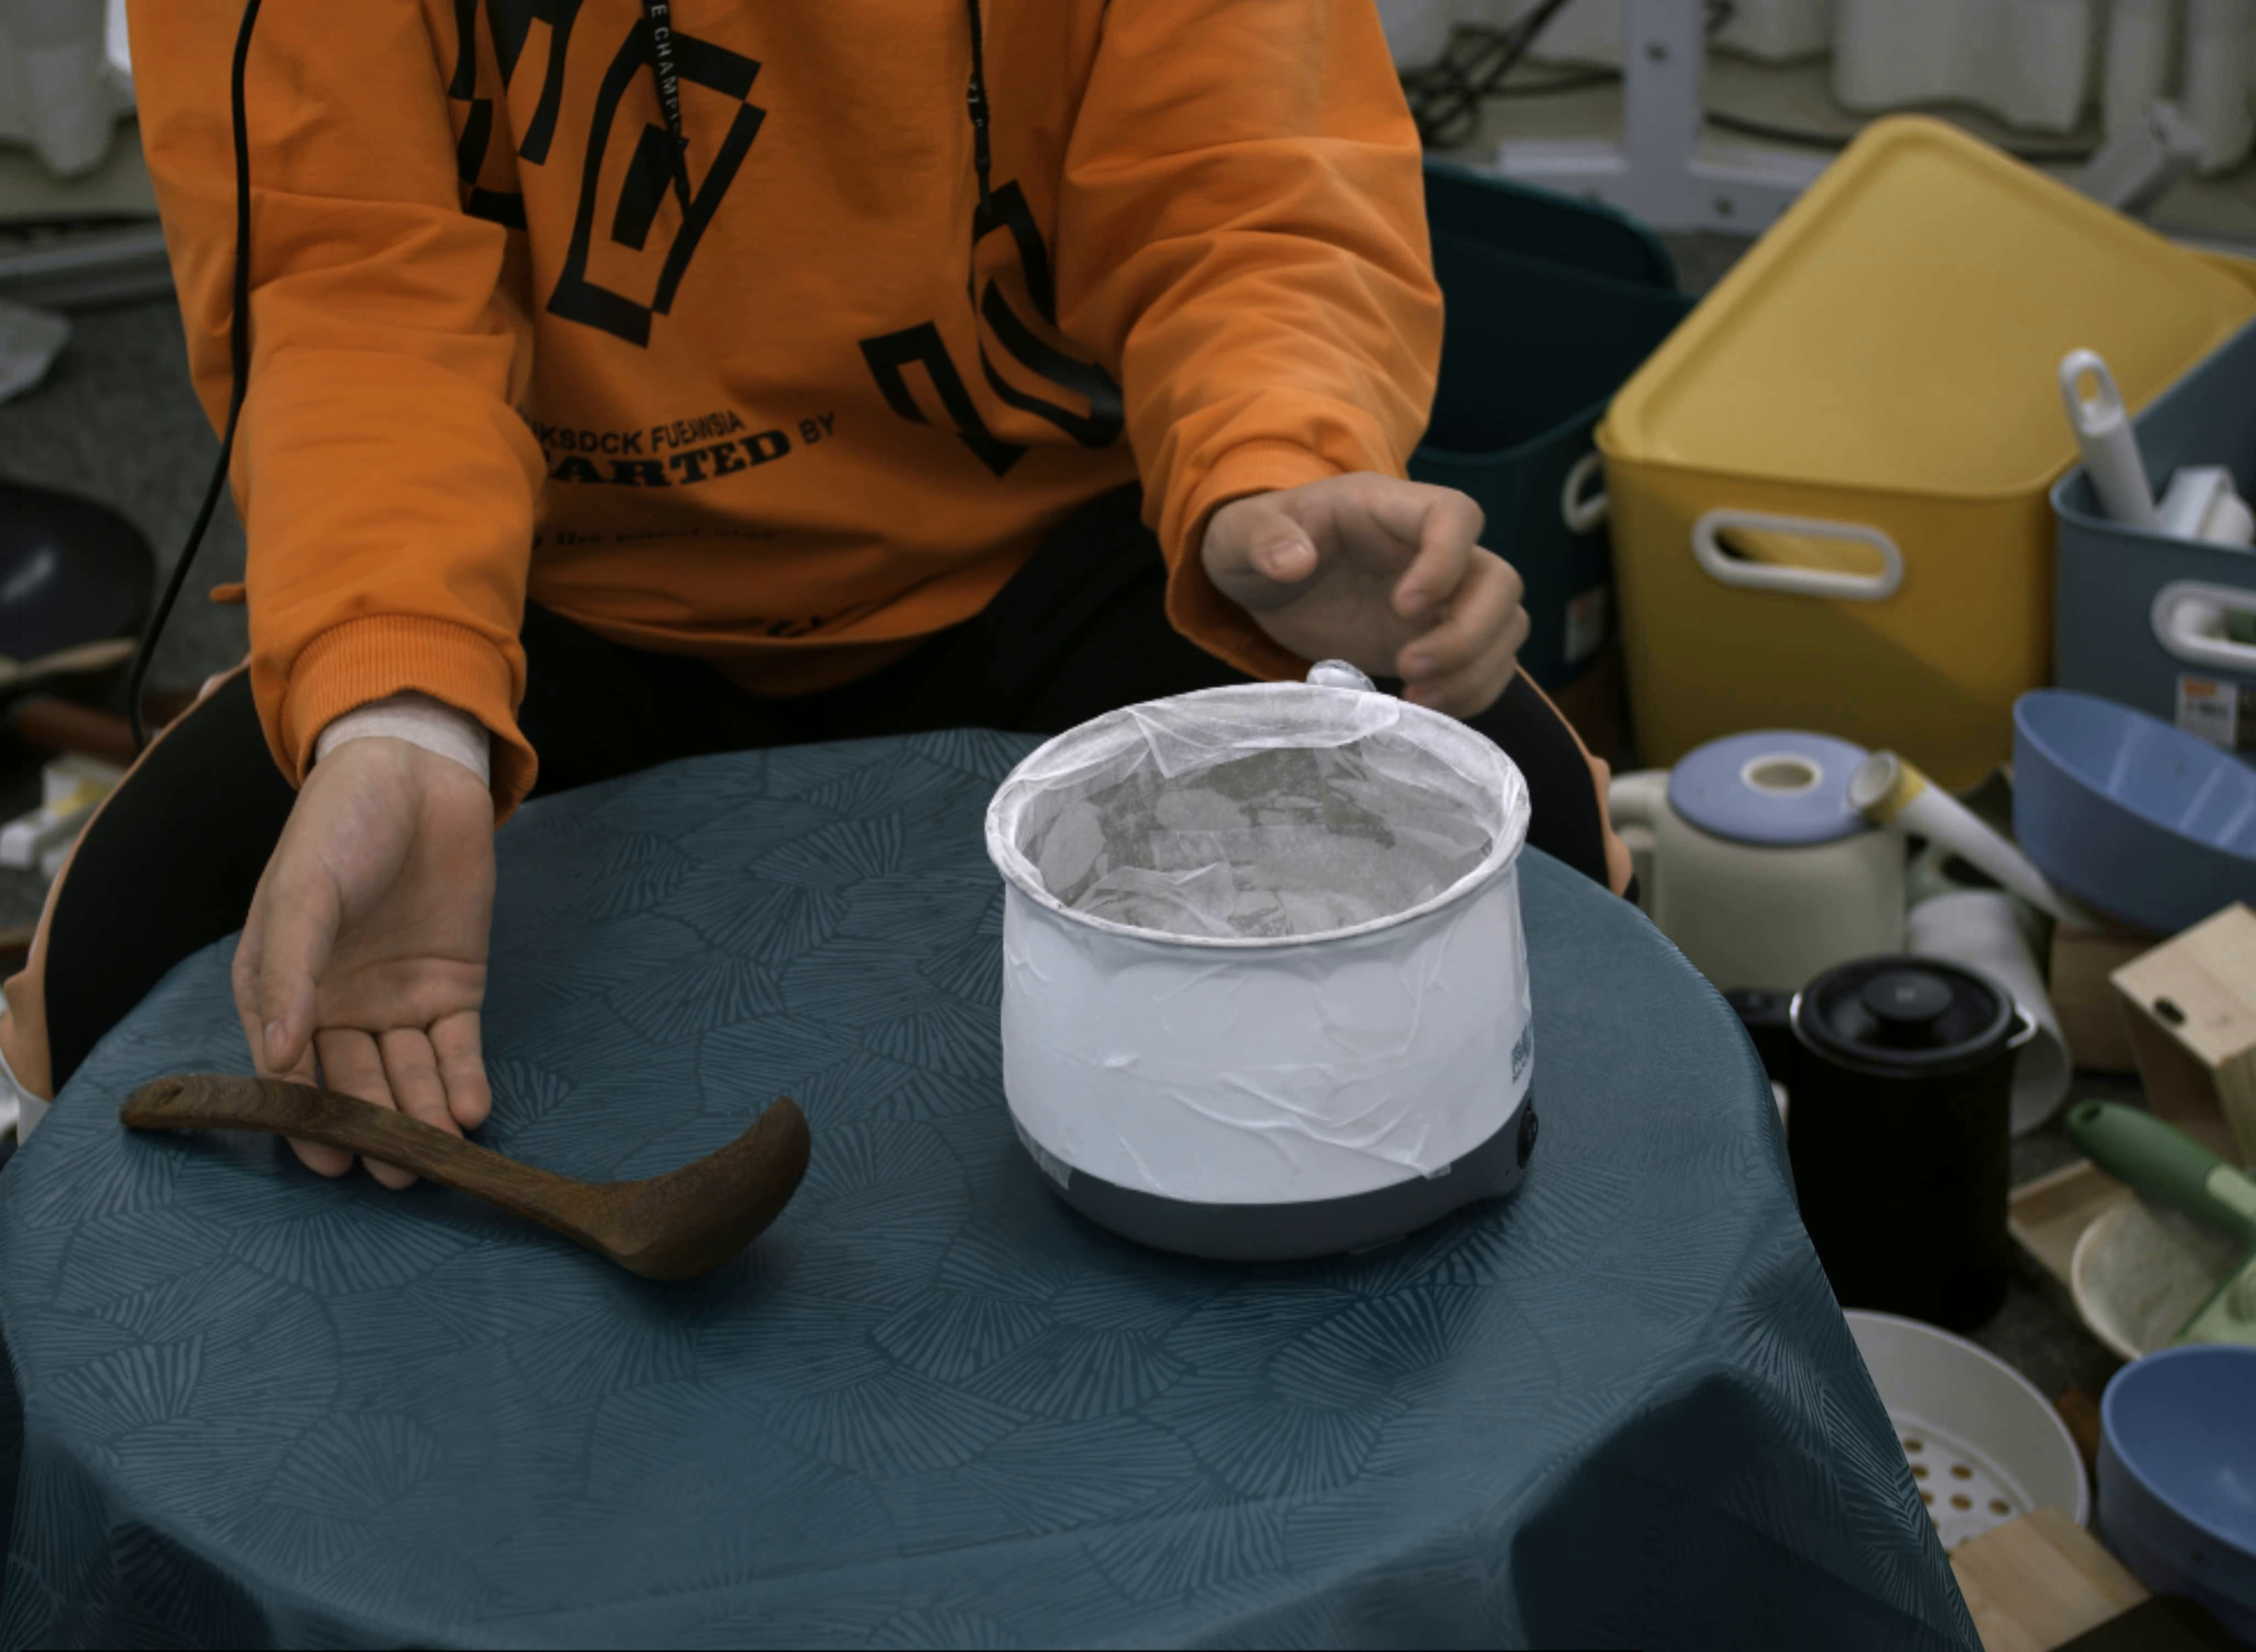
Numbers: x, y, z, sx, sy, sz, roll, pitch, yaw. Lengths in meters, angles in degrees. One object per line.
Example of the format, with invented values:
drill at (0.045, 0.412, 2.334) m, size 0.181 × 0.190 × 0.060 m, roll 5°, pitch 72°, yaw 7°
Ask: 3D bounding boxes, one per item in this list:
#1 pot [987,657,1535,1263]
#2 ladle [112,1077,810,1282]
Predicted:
pot at (0.052, 0.037, 1.873) m, size 0.177 × 0.135 × 0.238 m, roll 5°, pitch 28°, yaw 14°
ladle at (-0.227, 0.096, 1.859) m, size 0.272 × 0.070 × 0.077 m, roll 13°, pitch 30°, yaw 27°
